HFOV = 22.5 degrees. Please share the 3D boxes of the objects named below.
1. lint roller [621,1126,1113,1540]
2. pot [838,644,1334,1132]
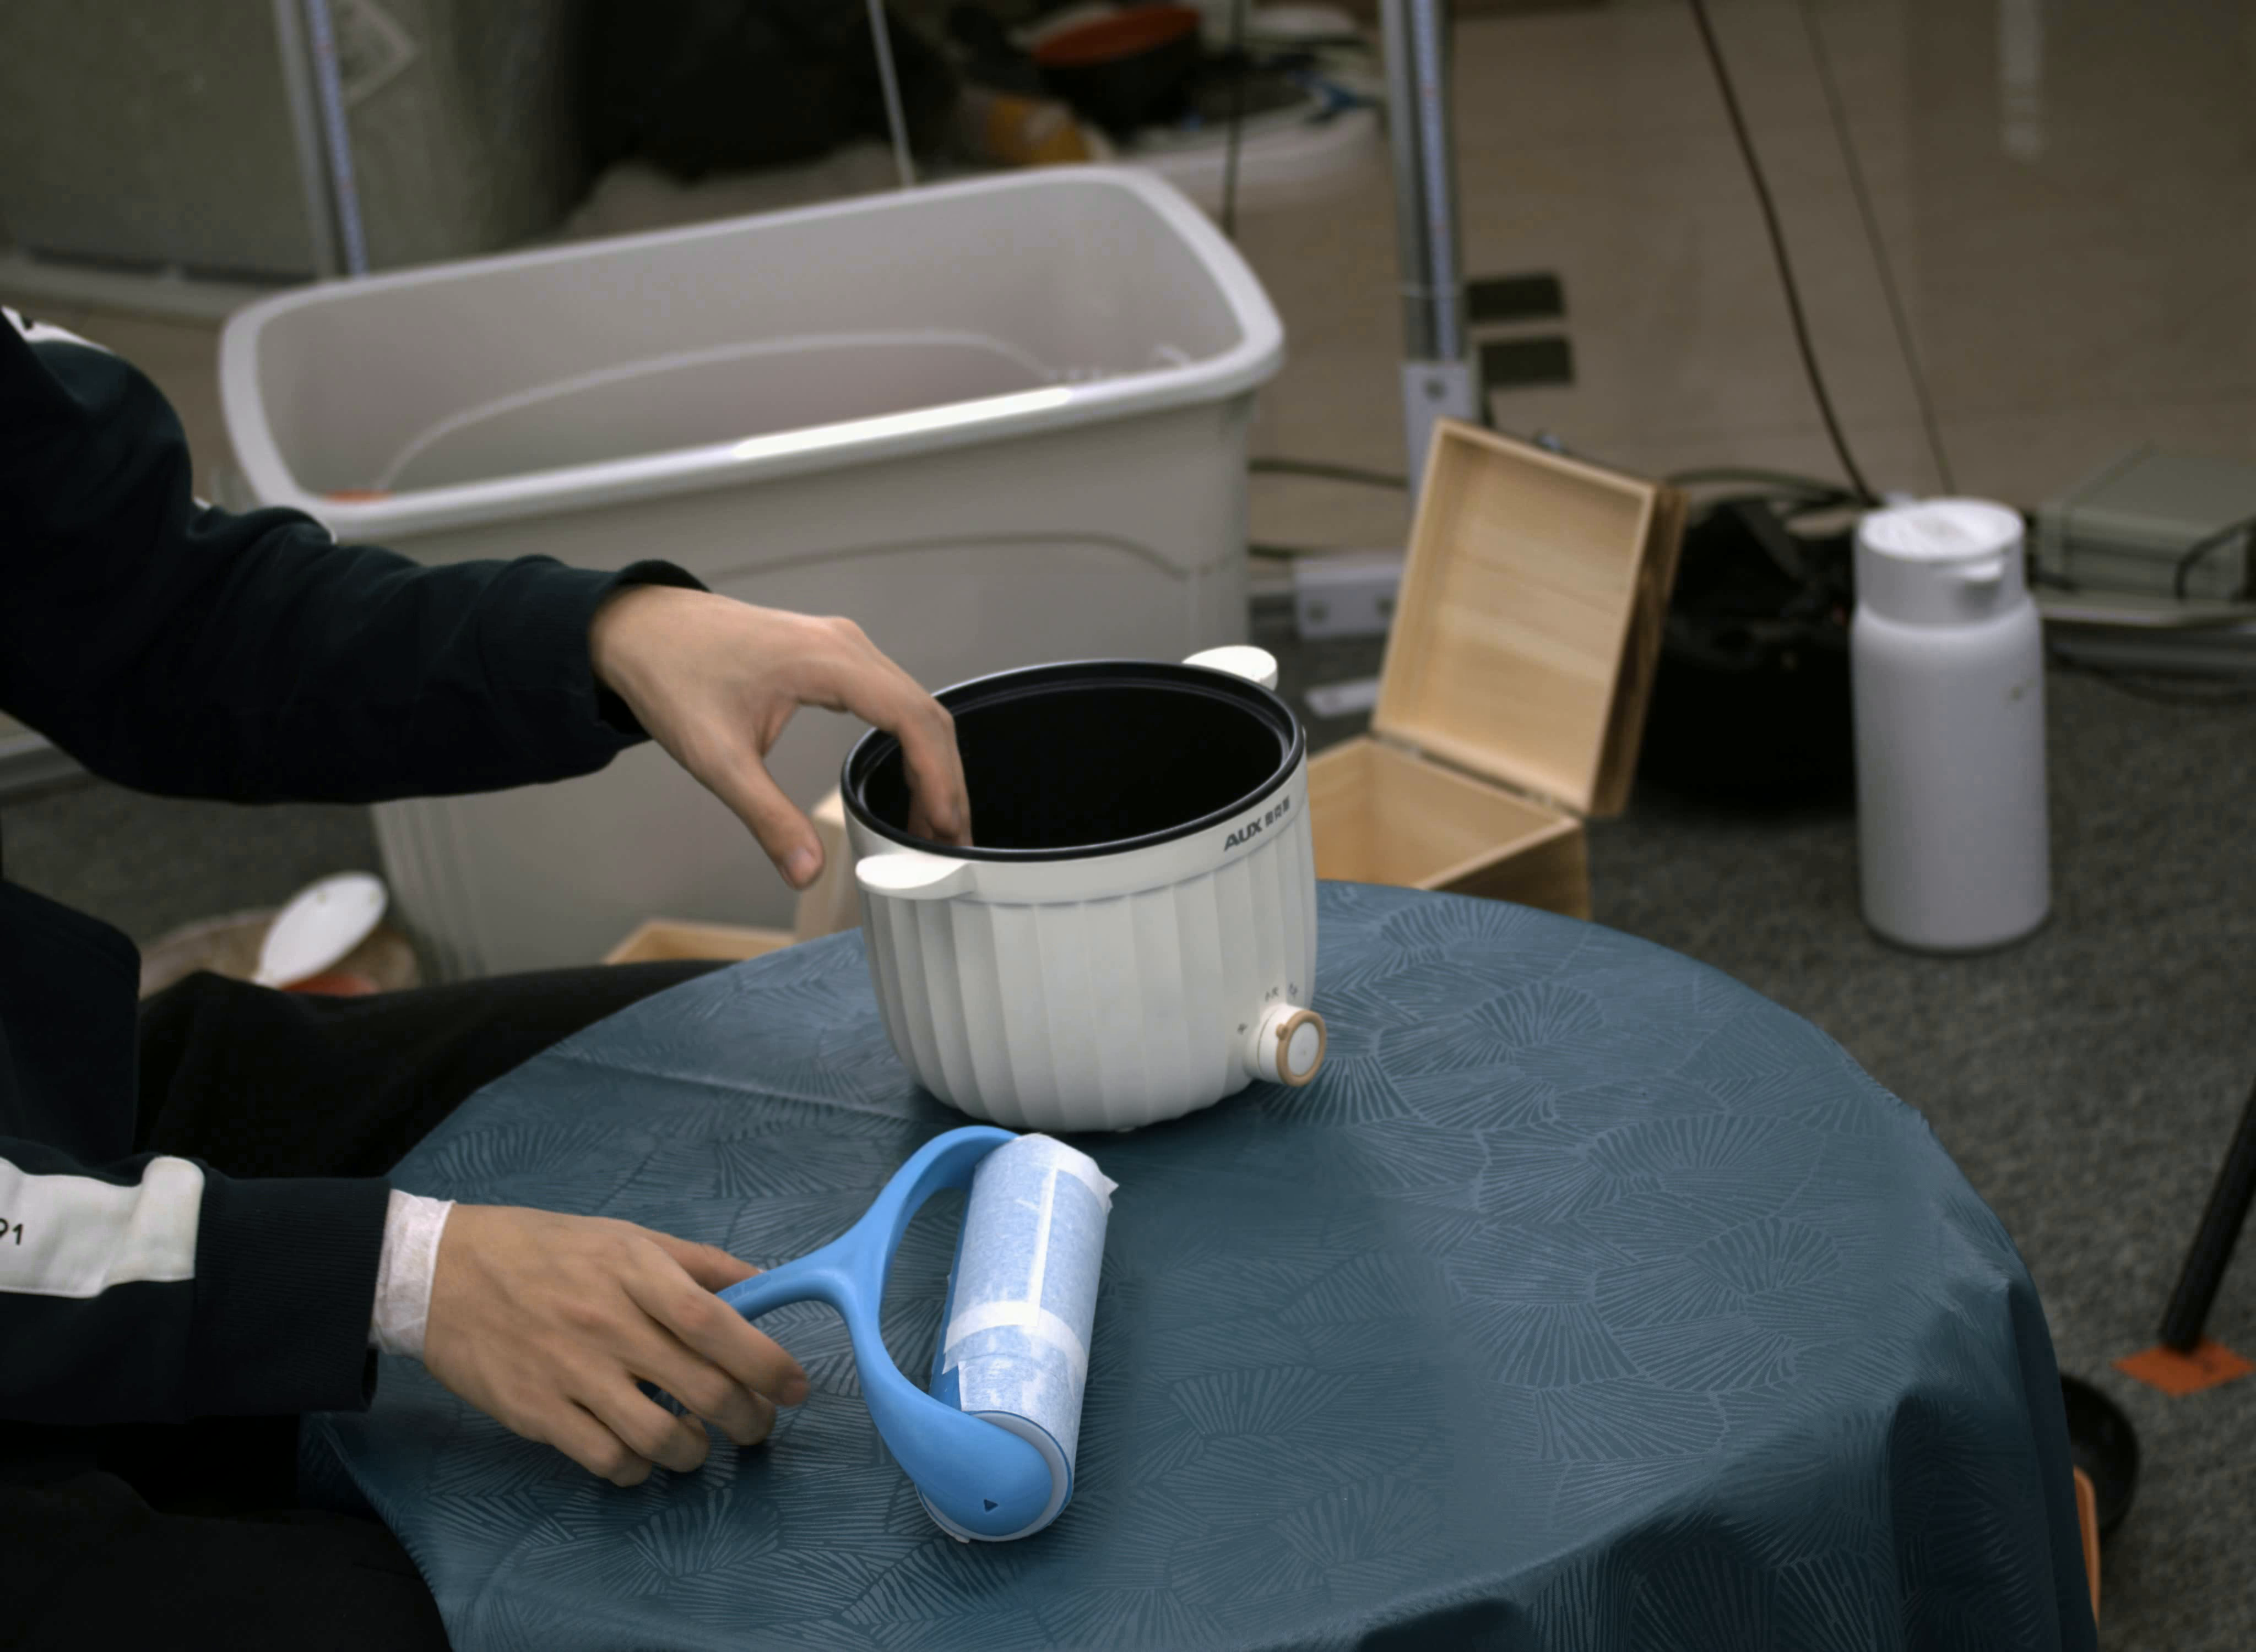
[{"bbox_3d":[-0.094,0.183,2.008,0.180,0.069,0.225,-5,27,2],"label":"lint roller"},{"bbox_3d":[-0.010,0.031,2.210,0.189,0.145,0.238,10,31,37],"label":"pot"}]
